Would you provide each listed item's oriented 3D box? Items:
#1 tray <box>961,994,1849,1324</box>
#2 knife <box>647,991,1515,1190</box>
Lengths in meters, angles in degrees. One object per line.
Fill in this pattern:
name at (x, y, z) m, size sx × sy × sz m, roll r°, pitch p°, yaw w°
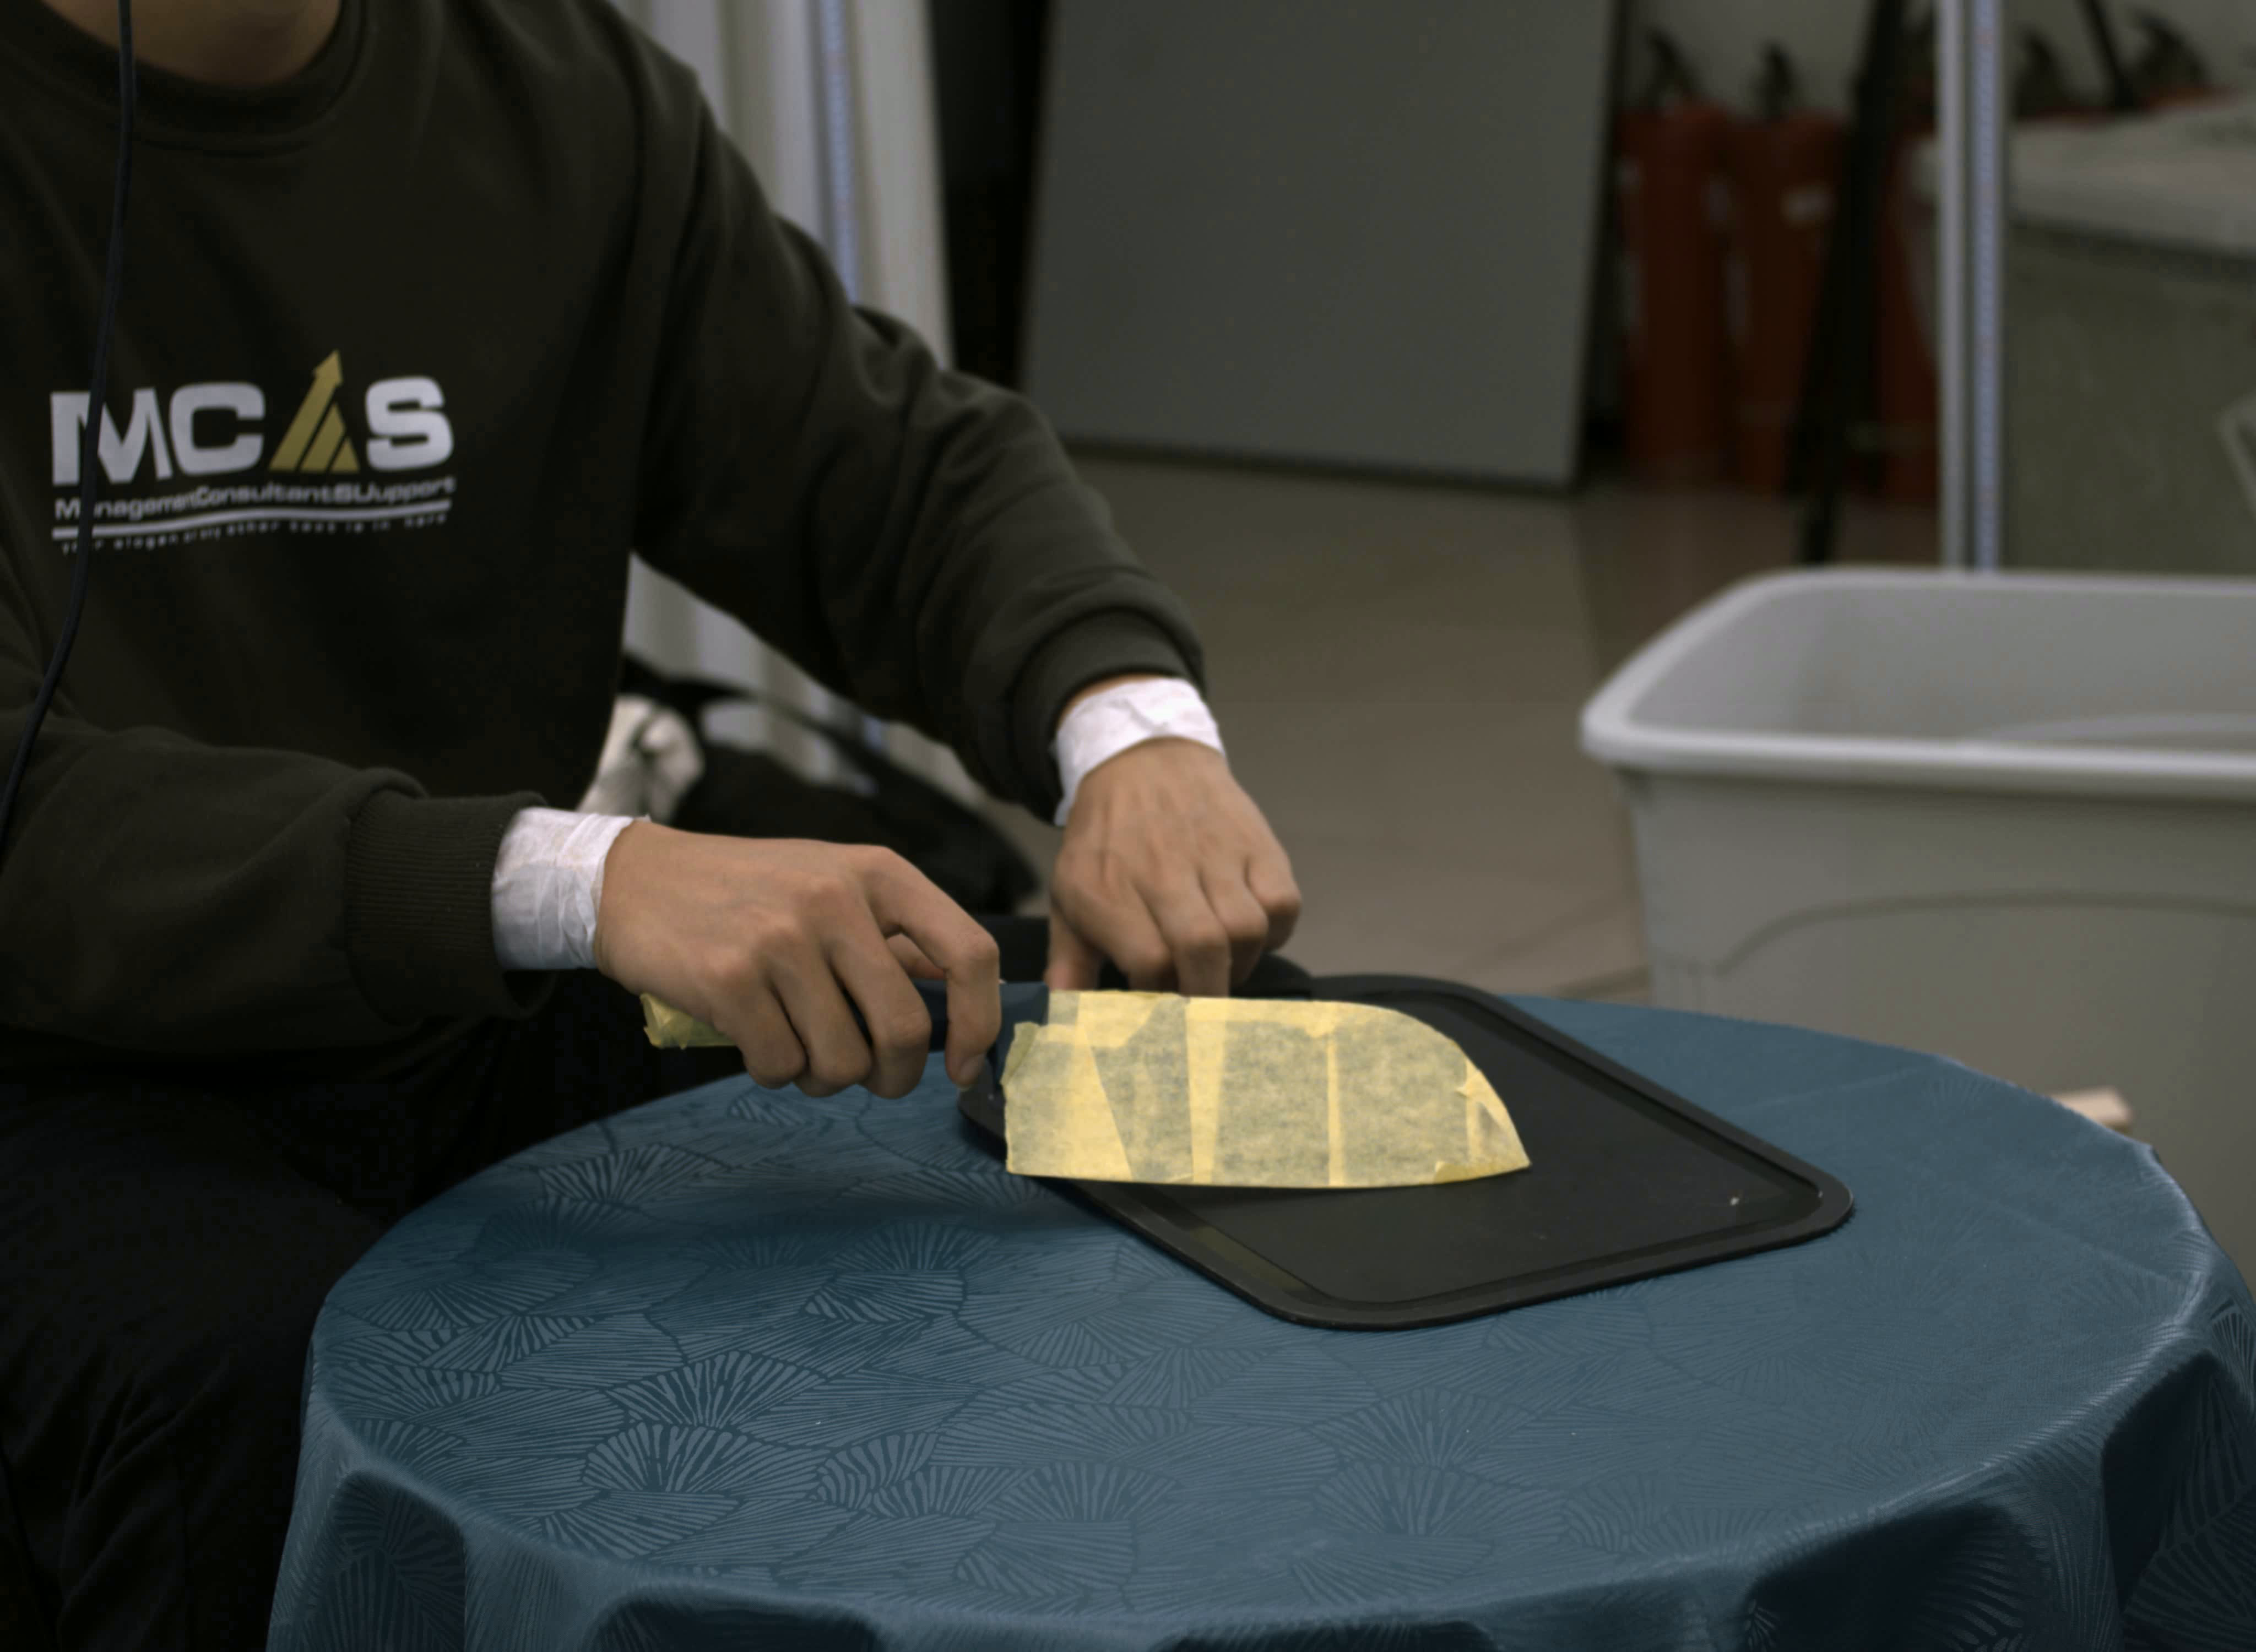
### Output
tray at (0.081, 0.104, 1.791) m, size 0.206 × 0.010 × 0.329 m, roll -11°, pitch 17°, yaw -23°
knife at (-0.015, 0.085, 1.760) m, size 0.286 × 0.027 × 0.082 m, roll 3°, pitch 52°, yaw 1°
